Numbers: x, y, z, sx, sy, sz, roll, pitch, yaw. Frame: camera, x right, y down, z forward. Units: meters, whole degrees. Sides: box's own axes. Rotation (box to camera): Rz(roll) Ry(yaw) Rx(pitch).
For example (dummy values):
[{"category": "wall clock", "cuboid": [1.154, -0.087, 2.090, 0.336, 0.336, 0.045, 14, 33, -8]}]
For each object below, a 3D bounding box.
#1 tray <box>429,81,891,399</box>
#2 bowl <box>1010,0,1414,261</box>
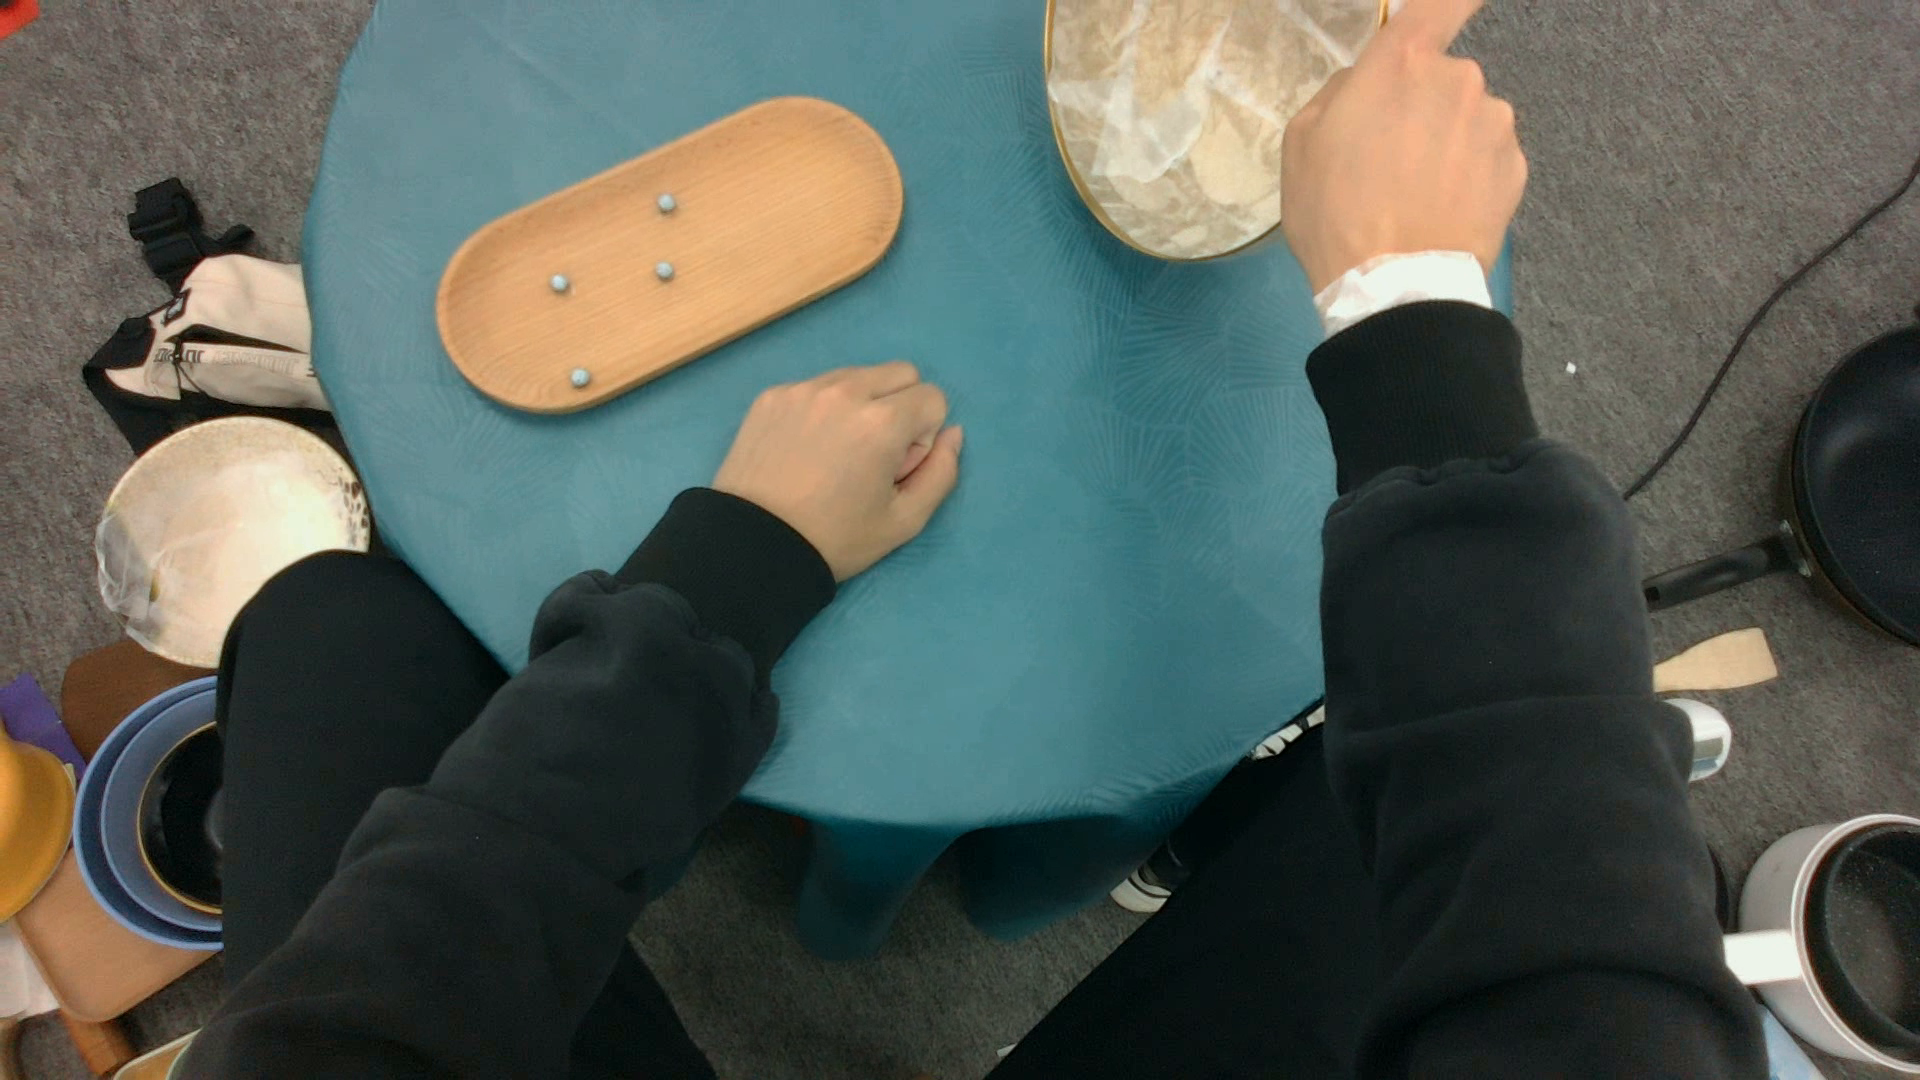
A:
[{"category": "tray", "cuboid": [-0.140, -0.146, 0.662, 0.232, 0.020, 0.102, -30, 83, -16]}, {"category": "bowl", "cuboid": [0.125, -0.233, 0.633, 0.095, 0.213, 0.215, -10, 74, -41]}]
